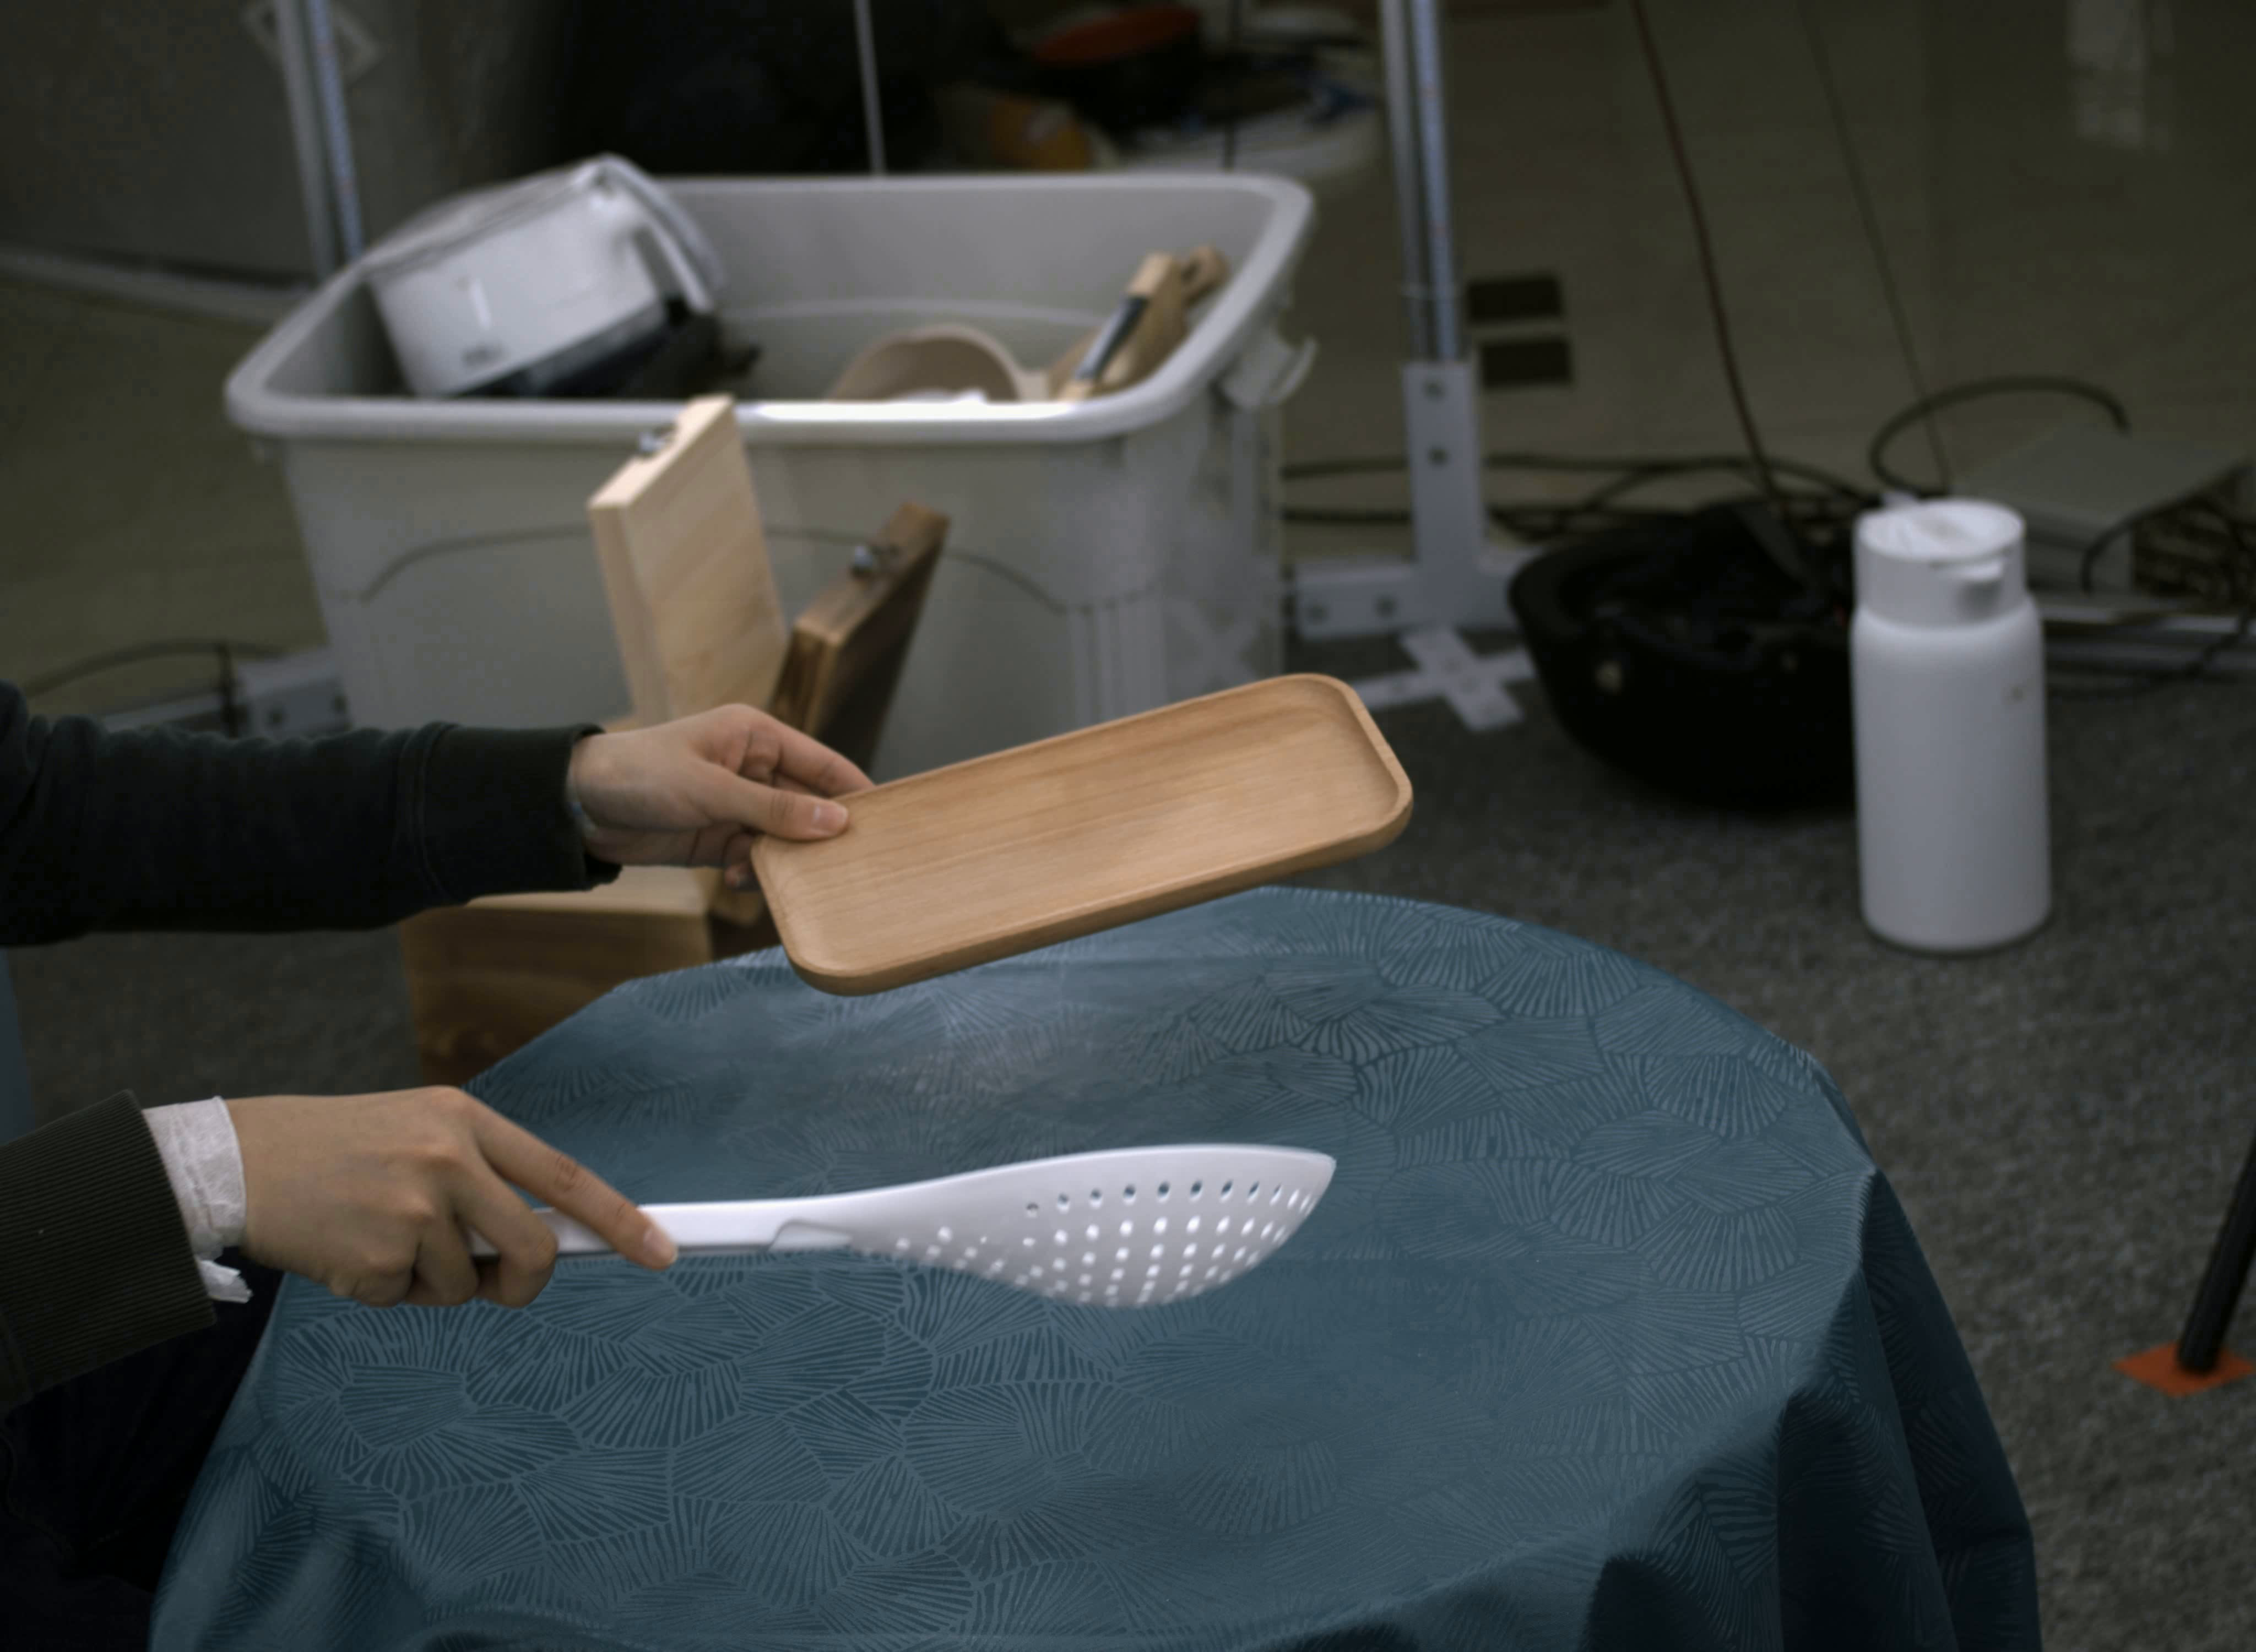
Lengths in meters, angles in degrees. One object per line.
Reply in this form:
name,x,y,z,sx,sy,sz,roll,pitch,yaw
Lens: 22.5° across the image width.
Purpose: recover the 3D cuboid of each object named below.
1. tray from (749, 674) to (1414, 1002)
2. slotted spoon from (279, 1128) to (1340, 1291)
tray,-0.018,0.004,2.203,0.250,0.023,0.128,-16,32,-7
slotted spoon,-0.102,0.127,1.866,0.349,0.045,0.137,2,-14,-9
